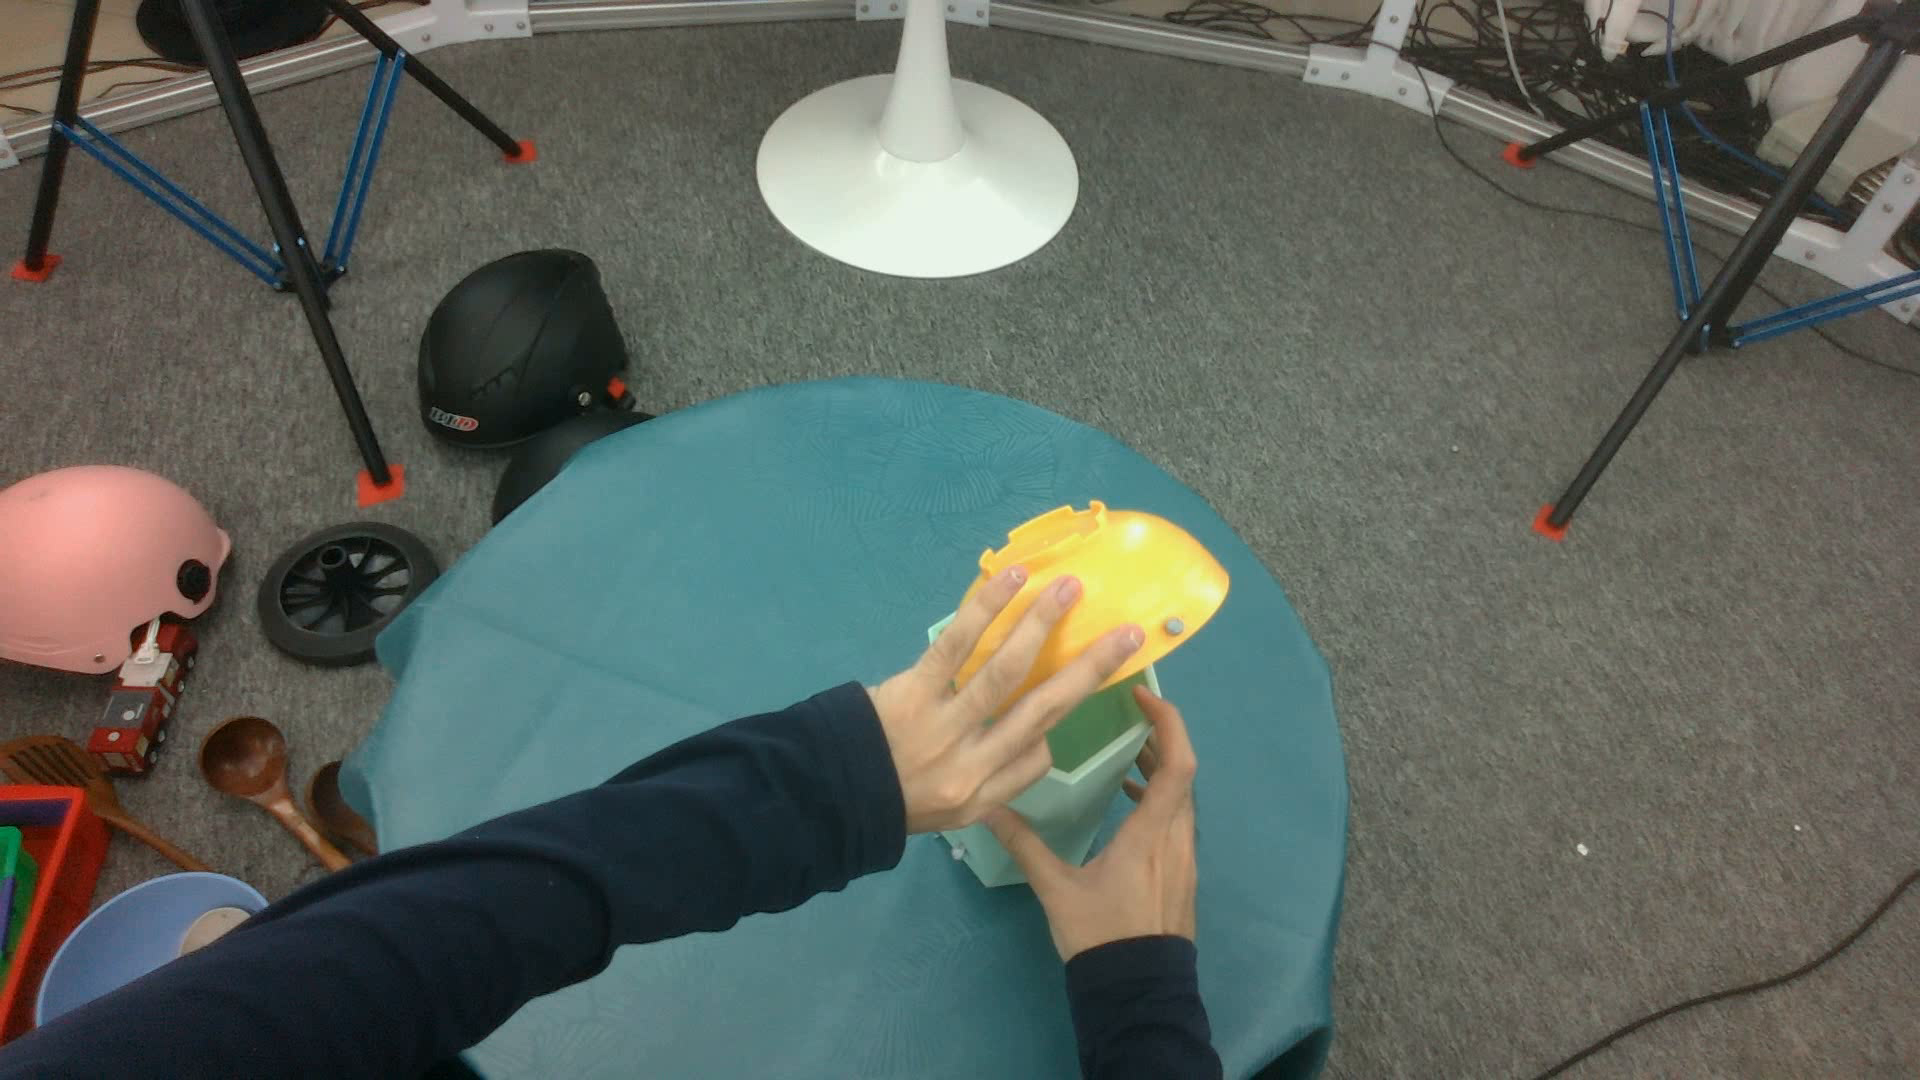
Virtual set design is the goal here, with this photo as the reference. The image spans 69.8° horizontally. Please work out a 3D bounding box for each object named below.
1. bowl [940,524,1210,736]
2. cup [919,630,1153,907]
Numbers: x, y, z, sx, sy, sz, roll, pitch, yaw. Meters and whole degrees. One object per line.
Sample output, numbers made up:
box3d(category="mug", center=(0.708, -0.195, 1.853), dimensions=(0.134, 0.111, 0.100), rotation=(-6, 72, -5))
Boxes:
box3d(category="bowl", center=(0.045, 0.033, 0.679), dimensions=(0.146, 0.145, 0.060), rotation=(-32, 101, -27))
box3d(category="cup", center=(0.036, 0.129, 0.784), dimensions=(0.131, 0.162, 0.116), rotation=(16, 52, 10))
